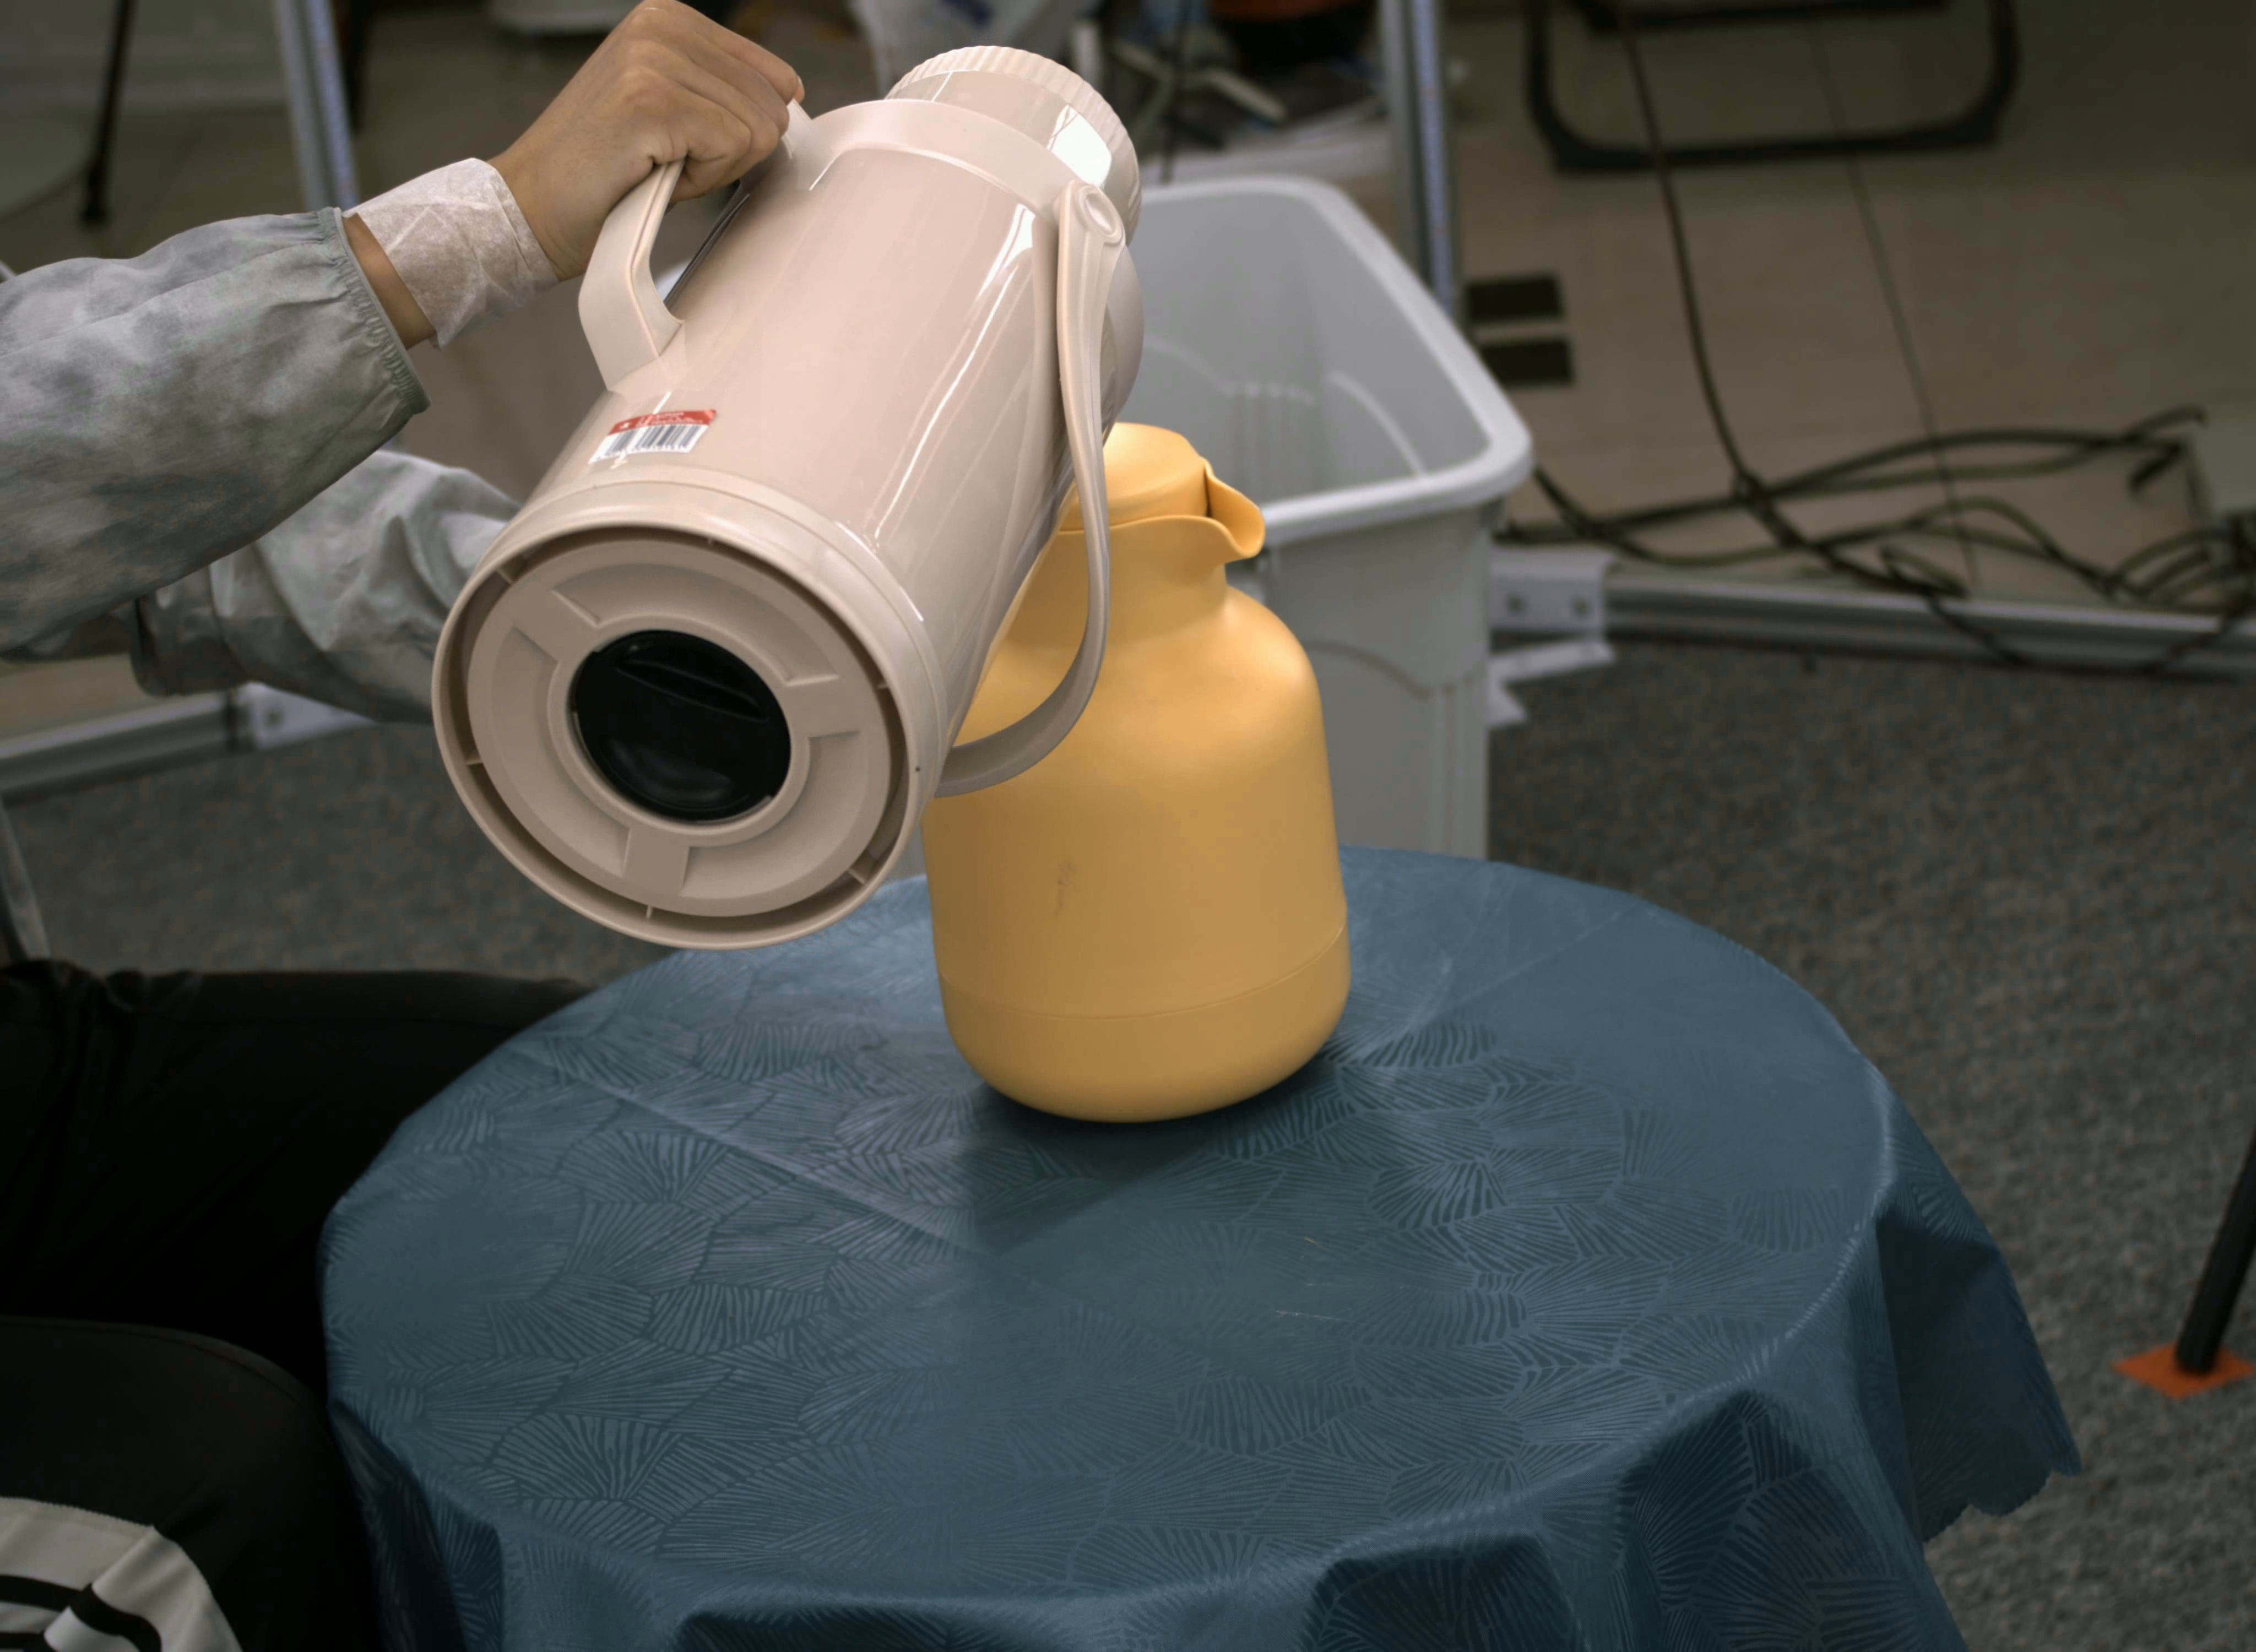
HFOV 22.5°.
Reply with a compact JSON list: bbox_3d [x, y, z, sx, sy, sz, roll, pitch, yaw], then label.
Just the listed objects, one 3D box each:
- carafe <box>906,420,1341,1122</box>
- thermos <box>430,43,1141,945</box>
[{"bbox_3d":[-0.019,-0.030,2.203,0.201,0.264,0.162,13,30,33],"label":"carafe"},{"bbox_3d":[-0.104,-0.143,1.908,0.176,0.209,0.400,-28,21,32],"label":"thermos"}]
